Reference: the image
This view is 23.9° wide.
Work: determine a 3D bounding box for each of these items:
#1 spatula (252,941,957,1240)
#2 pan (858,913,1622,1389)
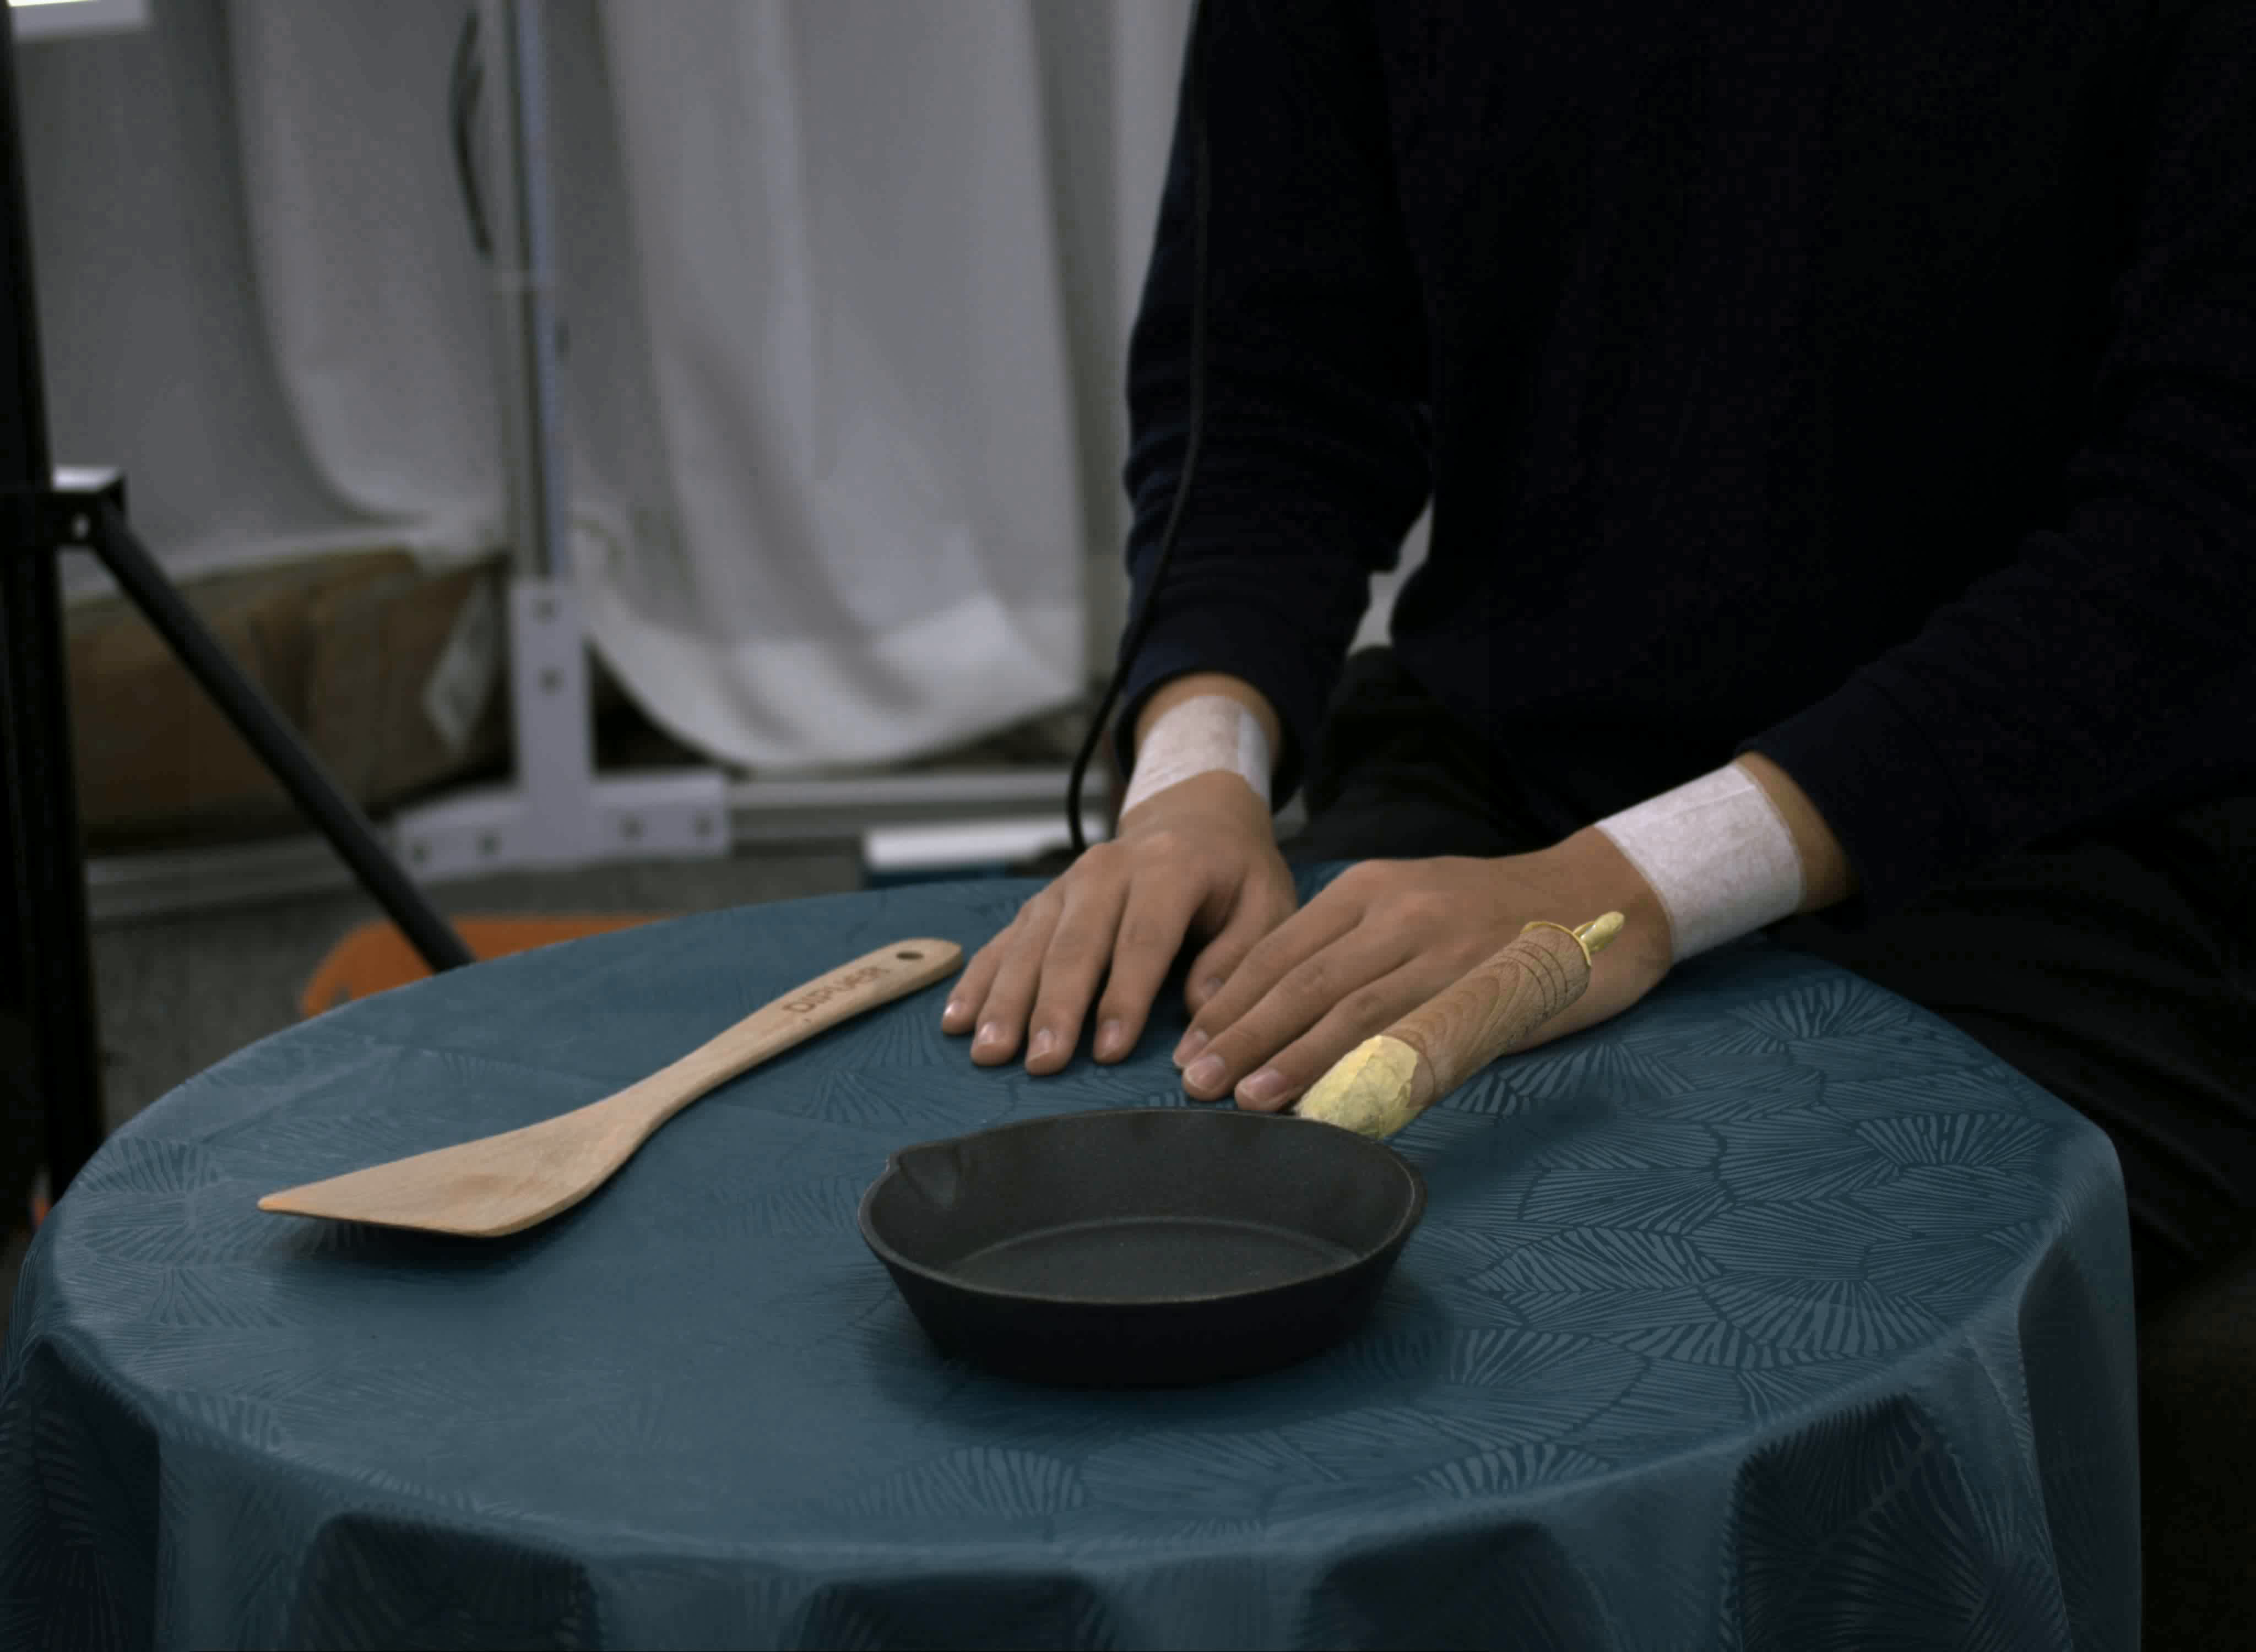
[{"bbox_3d":[-0.142,0.079,1.655,0.081,0.016,0.322,7,19,29],"label":"spatula"},{"bbox_3d":[0.055,0.089,1.522,0.172,0.049,0.317,9,21,37],"label":"pan"}]
